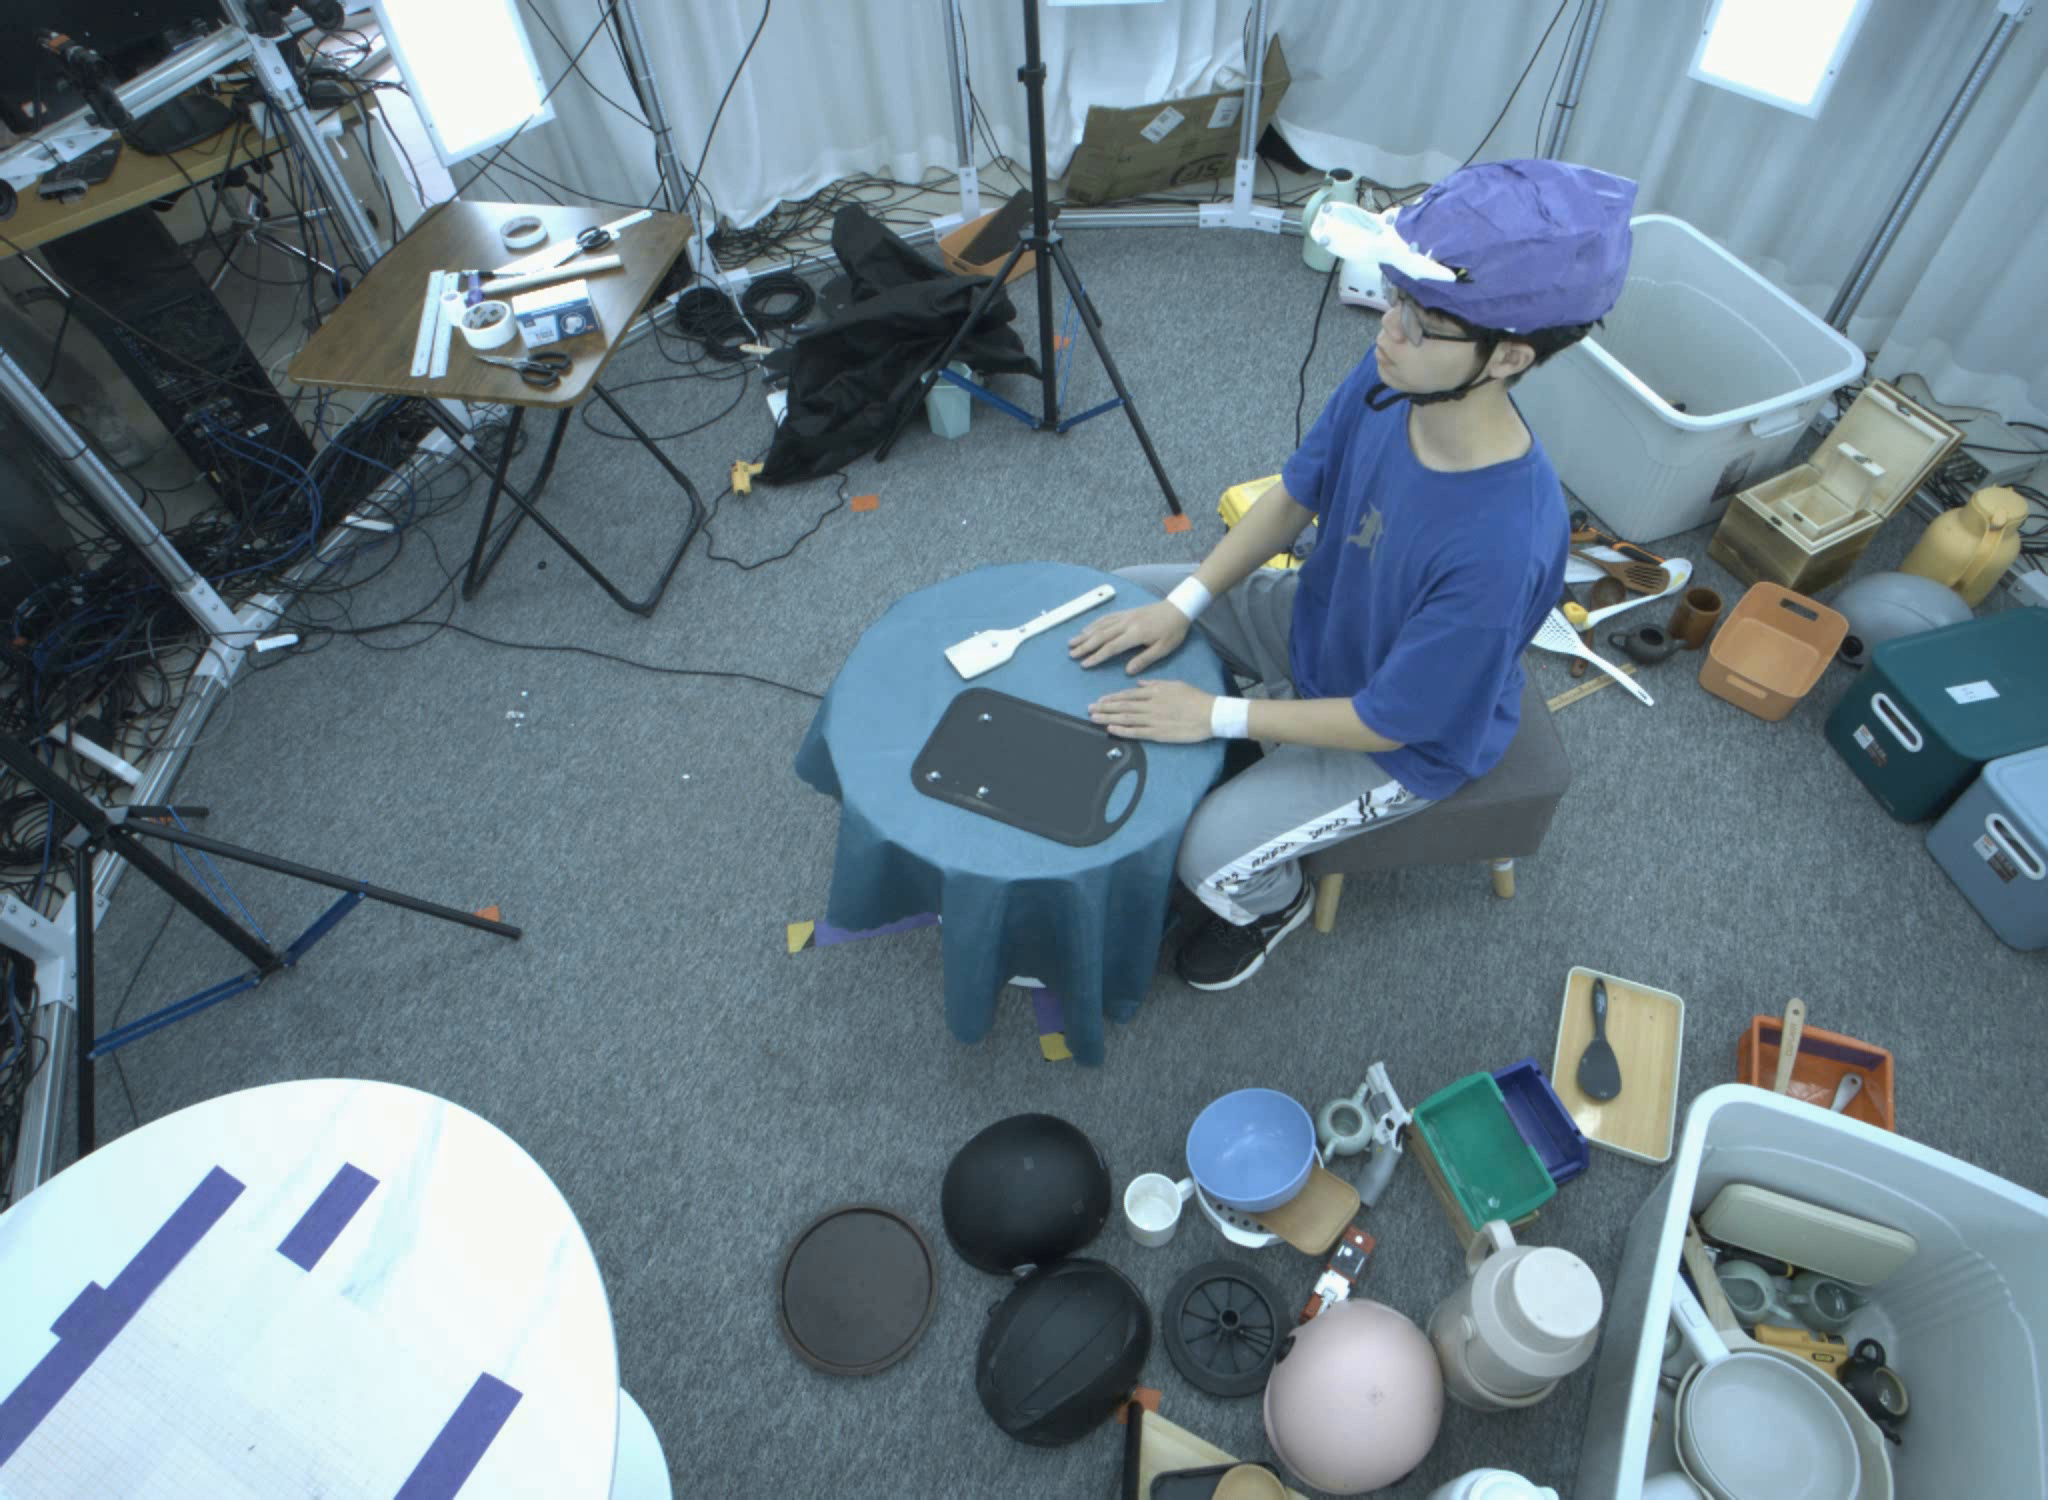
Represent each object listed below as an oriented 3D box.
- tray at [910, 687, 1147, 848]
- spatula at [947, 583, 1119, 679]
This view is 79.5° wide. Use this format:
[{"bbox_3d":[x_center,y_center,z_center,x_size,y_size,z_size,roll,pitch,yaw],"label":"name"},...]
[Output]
[{"bbox_3d":[0.013,0.021,1.759,0.321,0.010,0.211,20,58,15],"label":"tray"},{"bbox_3d":[0.021,-0.193,1.910,0.295,0.011,0.071,-28,57,-17],"label":"spatula"}]
